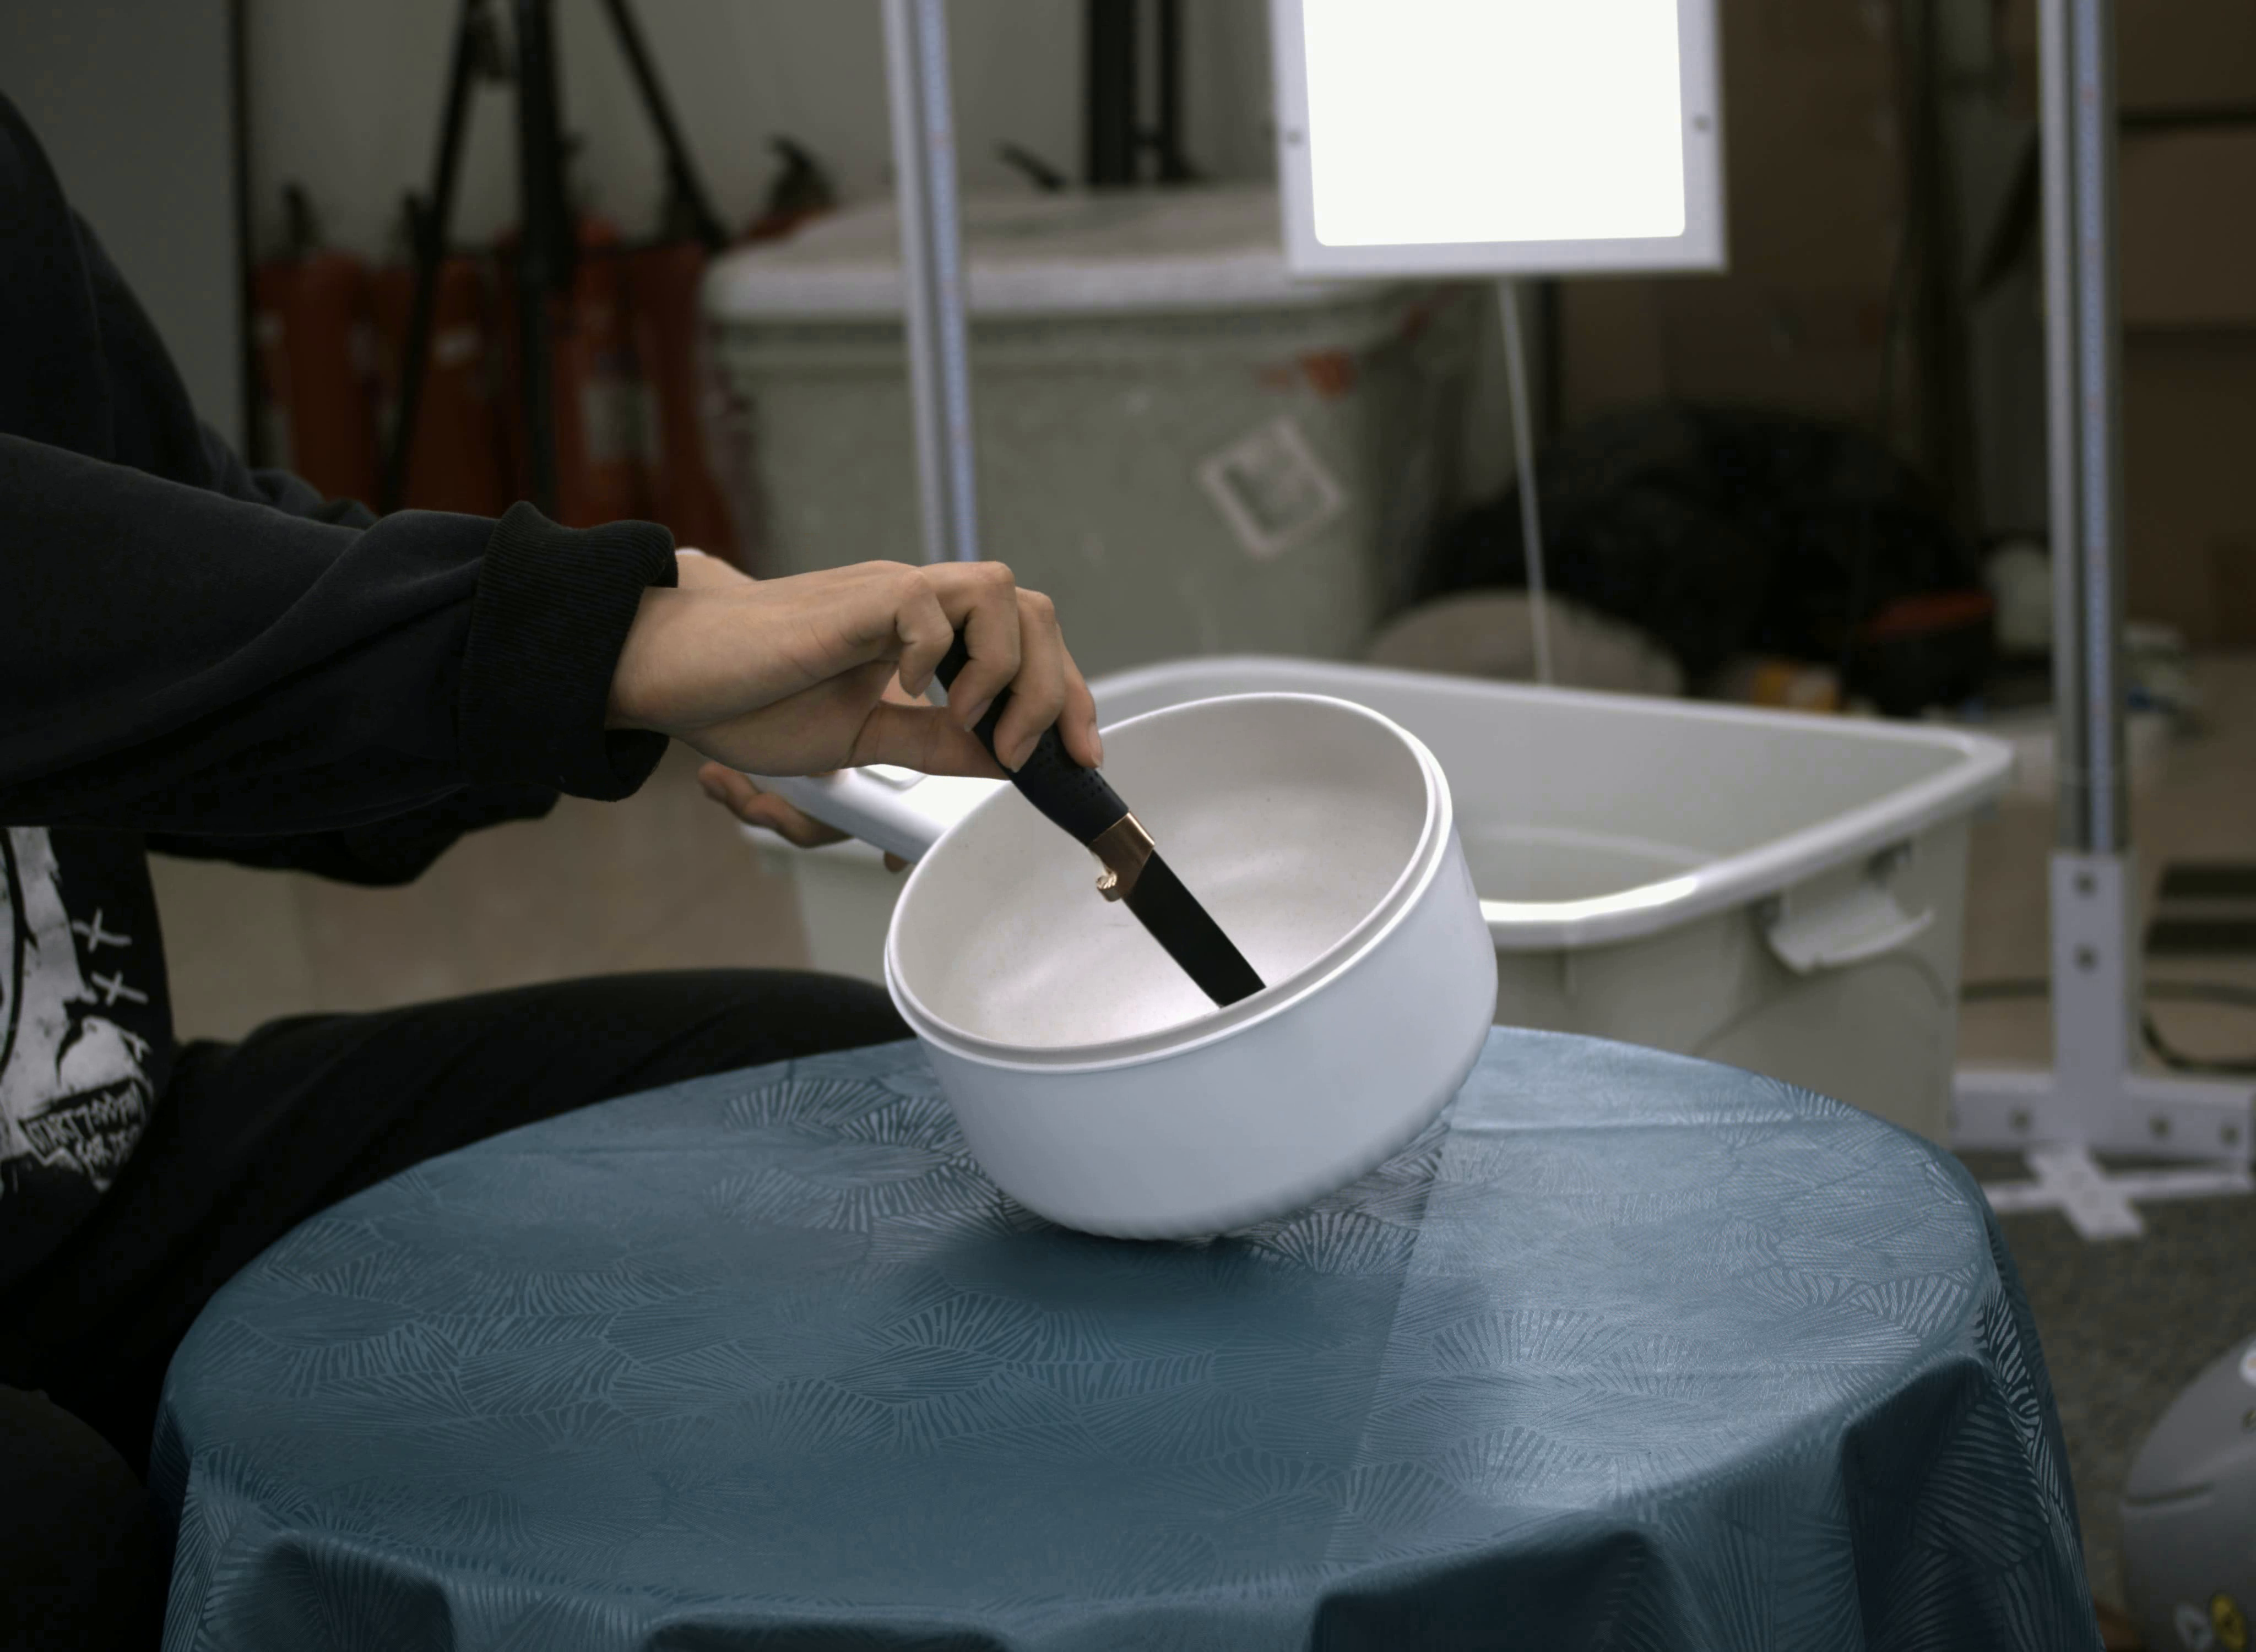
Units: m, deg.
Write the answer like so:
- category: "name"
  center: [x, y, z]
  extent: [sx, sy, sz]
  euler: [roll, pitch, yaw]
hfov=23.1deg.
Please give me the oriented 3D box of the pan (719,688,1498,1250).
- category: "pan"
  center: [-0.020, 0.036, 1.939]
  extent: [0.198, 0.101, 0.362]
  euler: [-40, 34, -22]

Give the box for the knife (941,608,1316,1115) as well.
- category: "knife"
  center: [0.004, 0.013, 1.745]
  extent: [0.017, 0.223, 0.026]
  euler: [-15, 38, 32]
